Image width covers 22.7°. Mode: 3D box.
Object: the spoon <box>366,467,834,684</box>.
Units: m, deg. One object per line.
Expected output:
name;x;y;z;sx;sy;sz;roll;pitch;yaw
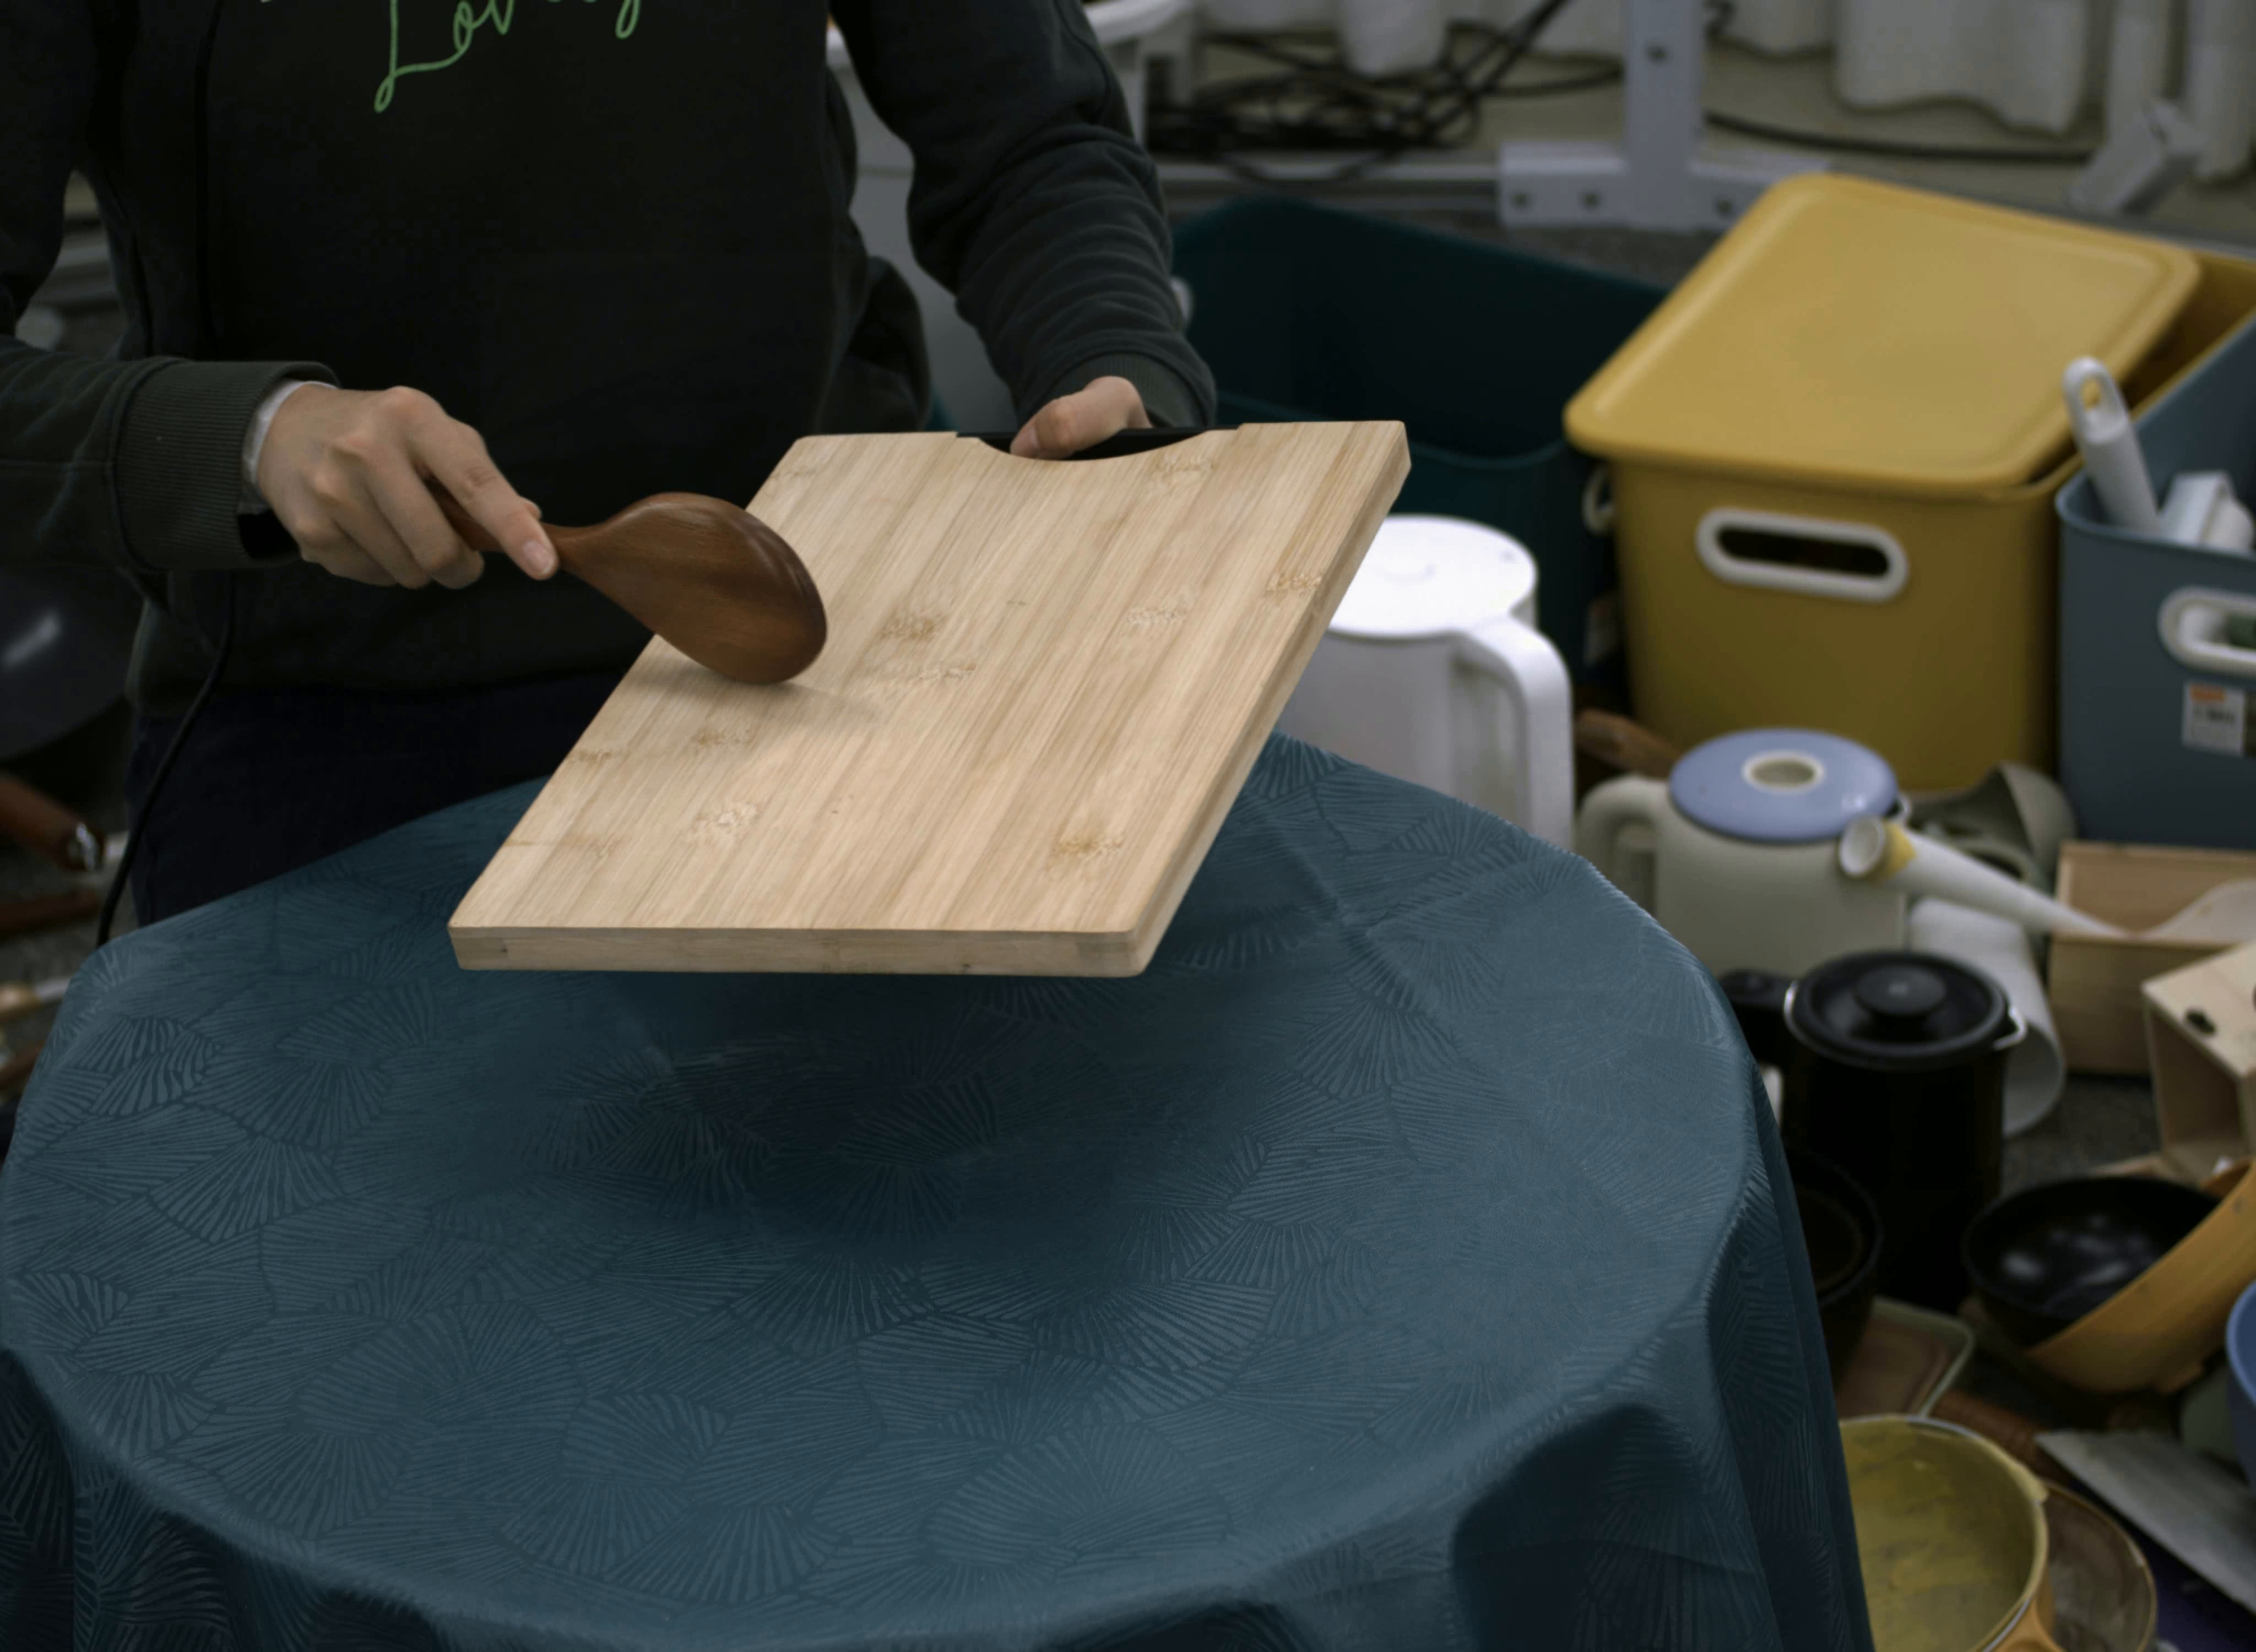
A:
spoon;-0.187;-0.093;1.958;0.215;0.074;0.017;17;45;36

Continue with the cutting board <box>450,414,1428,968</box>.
cutting board;-0.057;-0.052;1.937;0.248;0.023;0.355;0;31;19
